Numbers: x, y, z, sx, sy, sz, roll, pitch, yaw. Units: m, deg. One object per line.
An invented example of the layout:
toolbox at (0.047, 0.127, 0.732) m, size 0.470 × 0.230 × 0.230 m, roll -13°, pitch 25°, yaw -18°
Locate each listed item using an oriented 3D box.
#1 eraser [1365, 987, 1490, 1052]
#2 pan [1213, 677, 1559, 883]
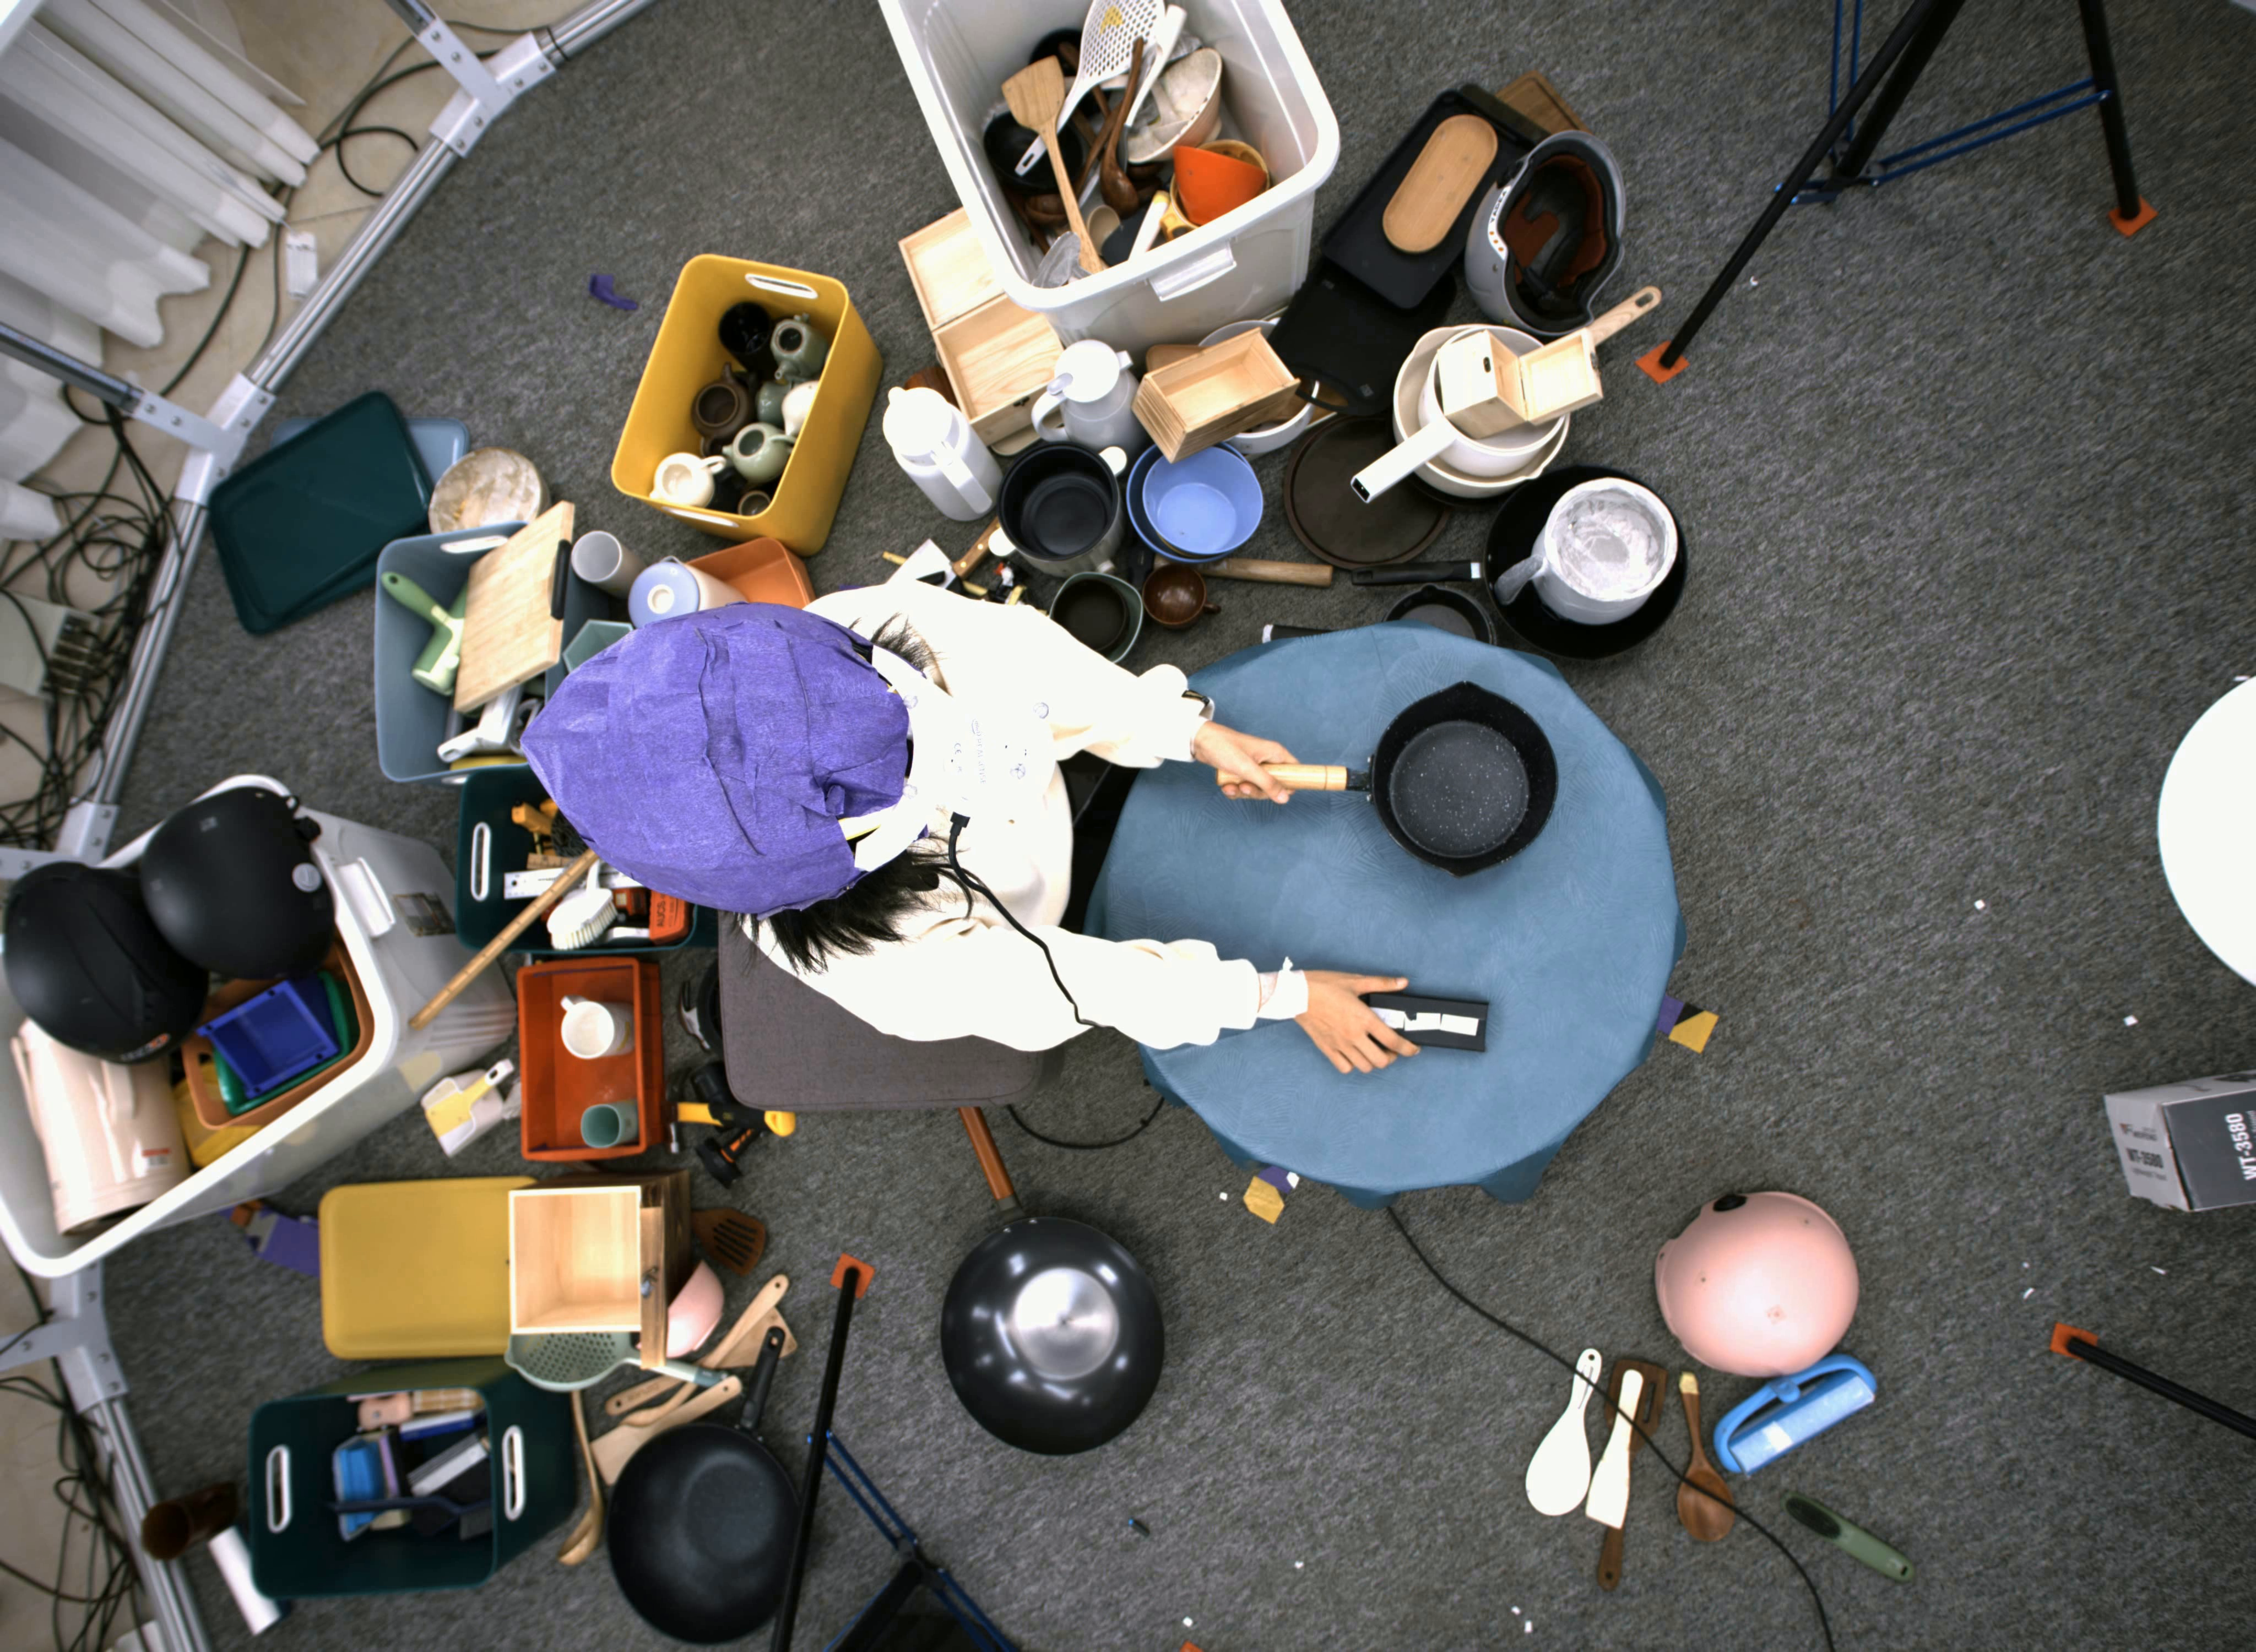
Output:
eraser at (0.310, 0.198, 1.432) m, size 0.126 × 0.030 × 0.053 m, roll 5°, pitch 87°, yaw 12°
pan at (0.261, -0.046, 1.413) m, size 0.344 × 0.108 × 0.207 m, roll 0°, pitch 87°, yaw 9°
